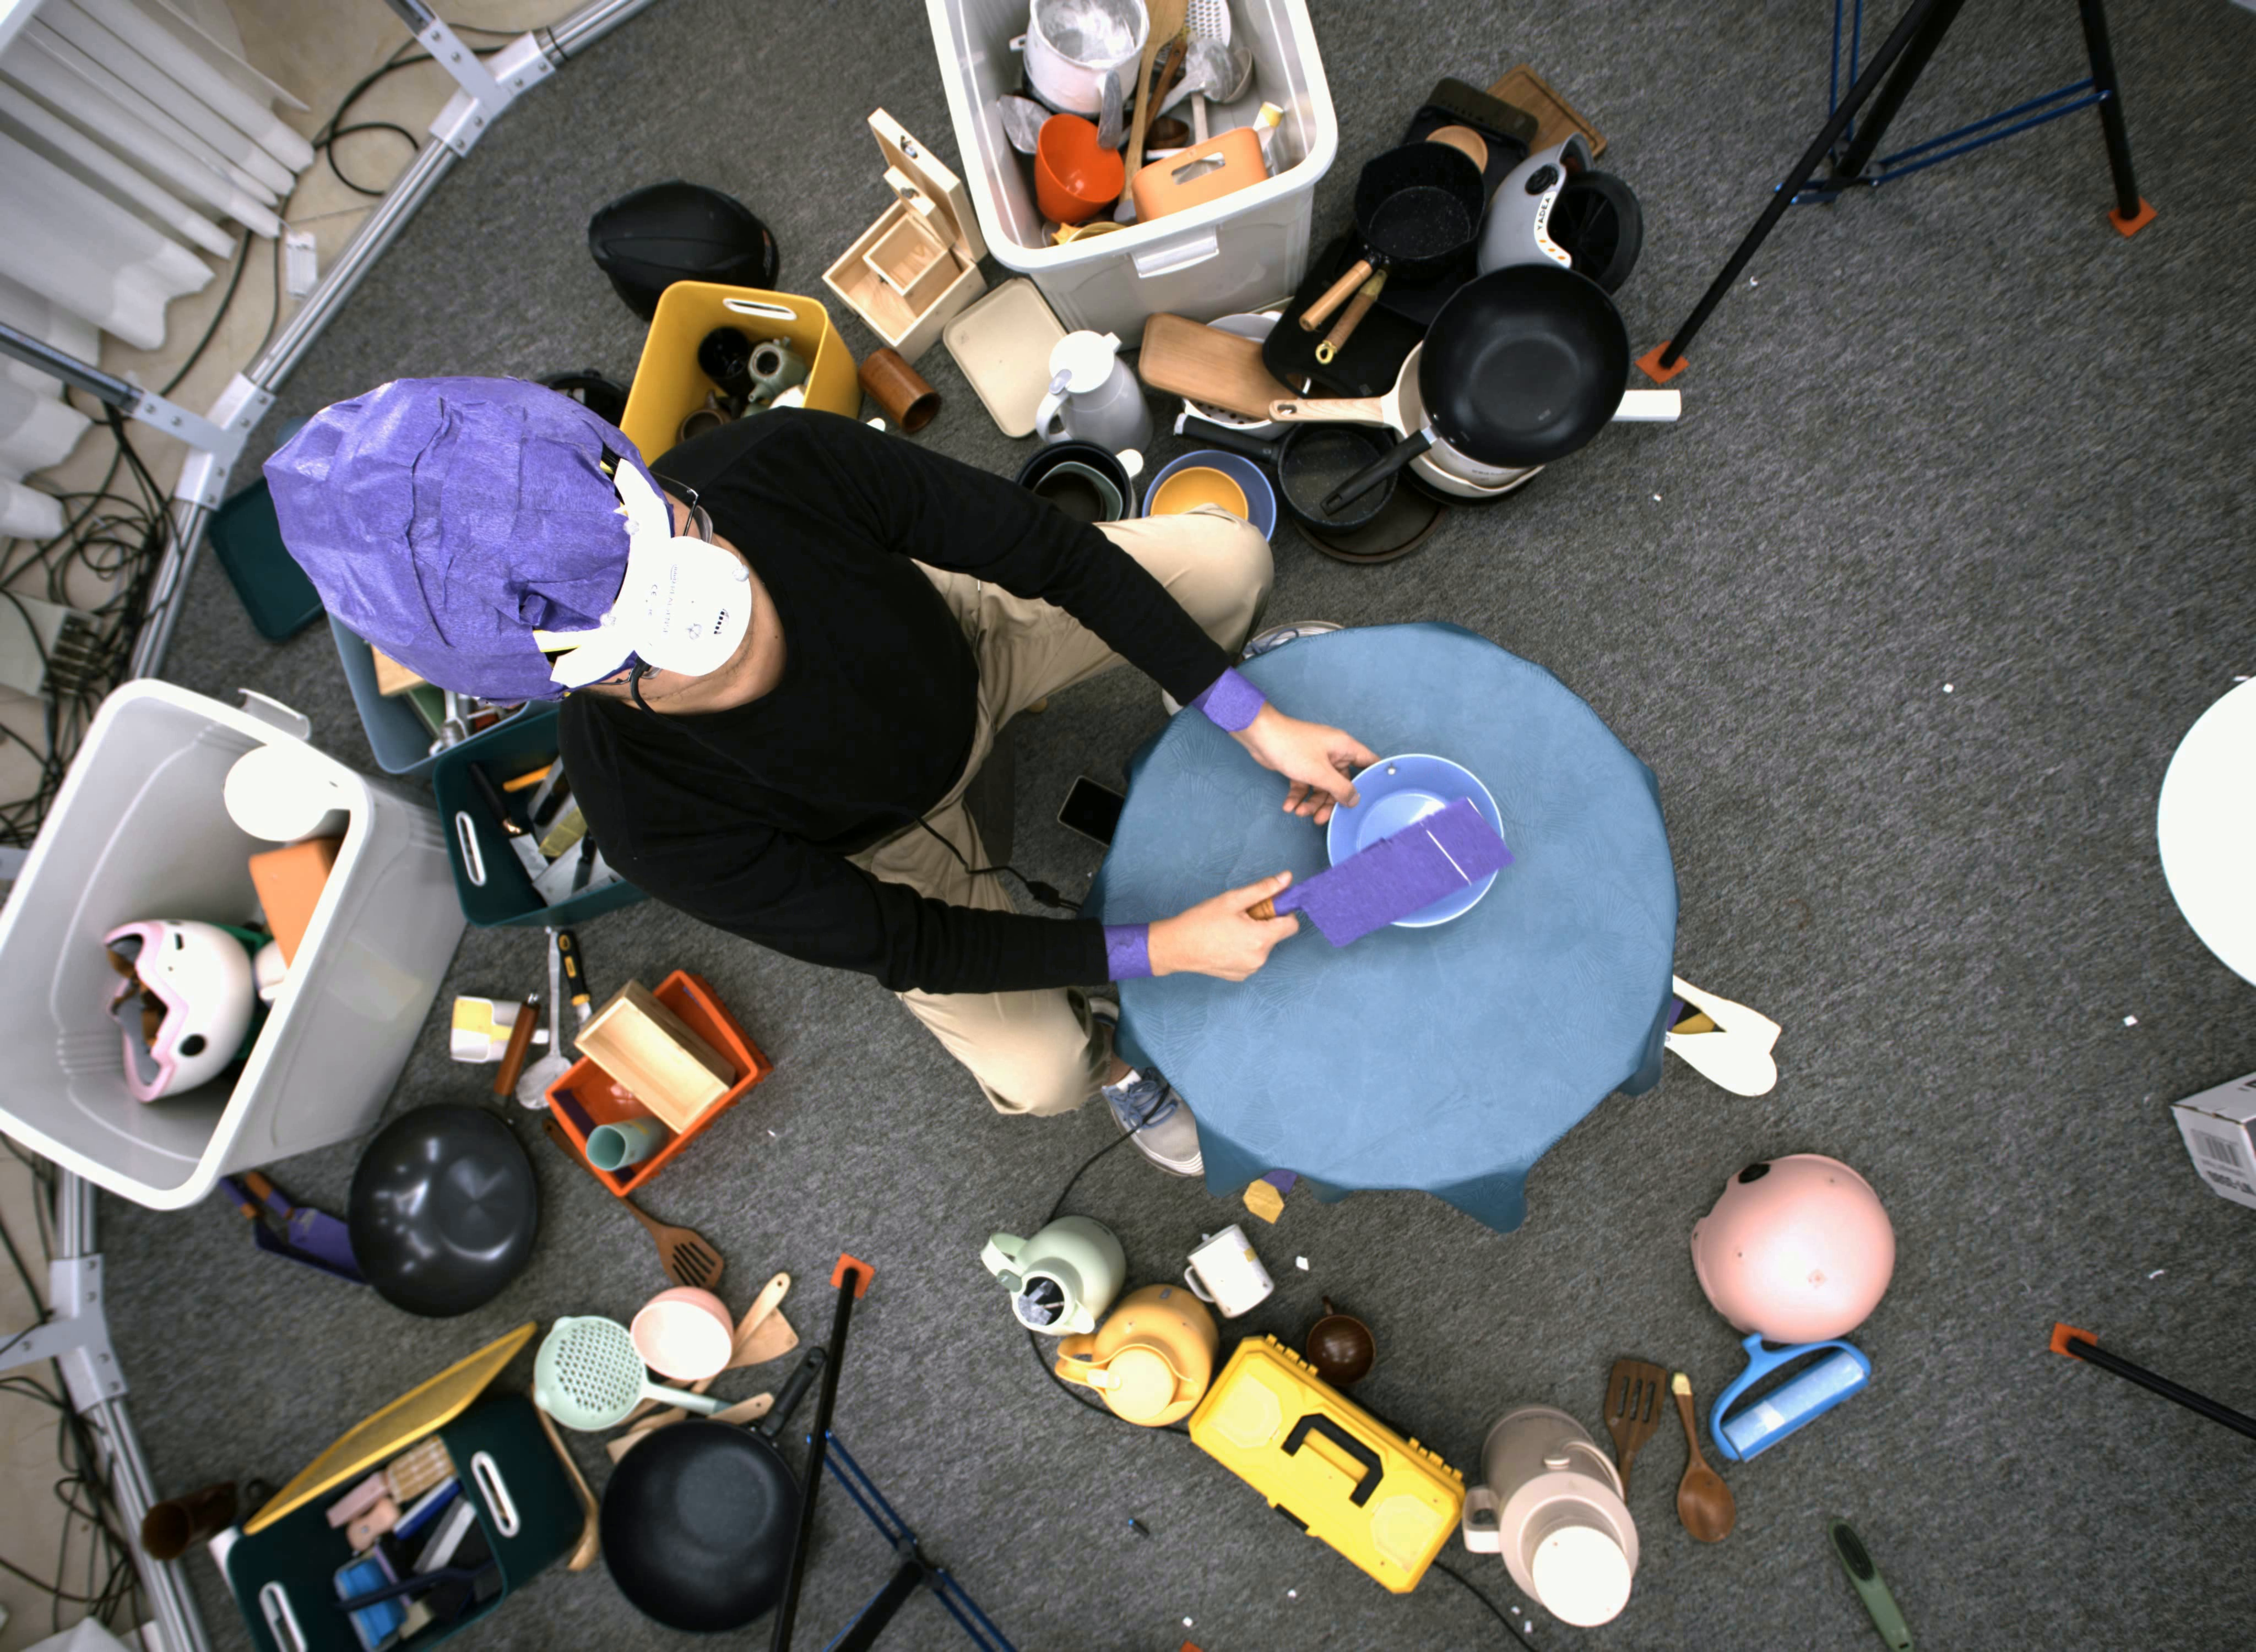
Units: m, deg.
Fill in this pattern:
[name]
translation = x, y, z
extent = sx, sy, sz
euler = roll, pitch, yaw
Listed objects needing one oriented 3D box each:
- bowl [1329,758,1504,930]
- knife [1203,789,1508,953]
[bowl]
translation = 0.297, 0.020, 1.423
extent = 0.177, 0.070, 0.175
euler = -1, 85, 12
[knife]
translation = 0.223, 0.069, 1.373
extent = 0.321, 0.031, 0.105
euler = -30, 116, 30
